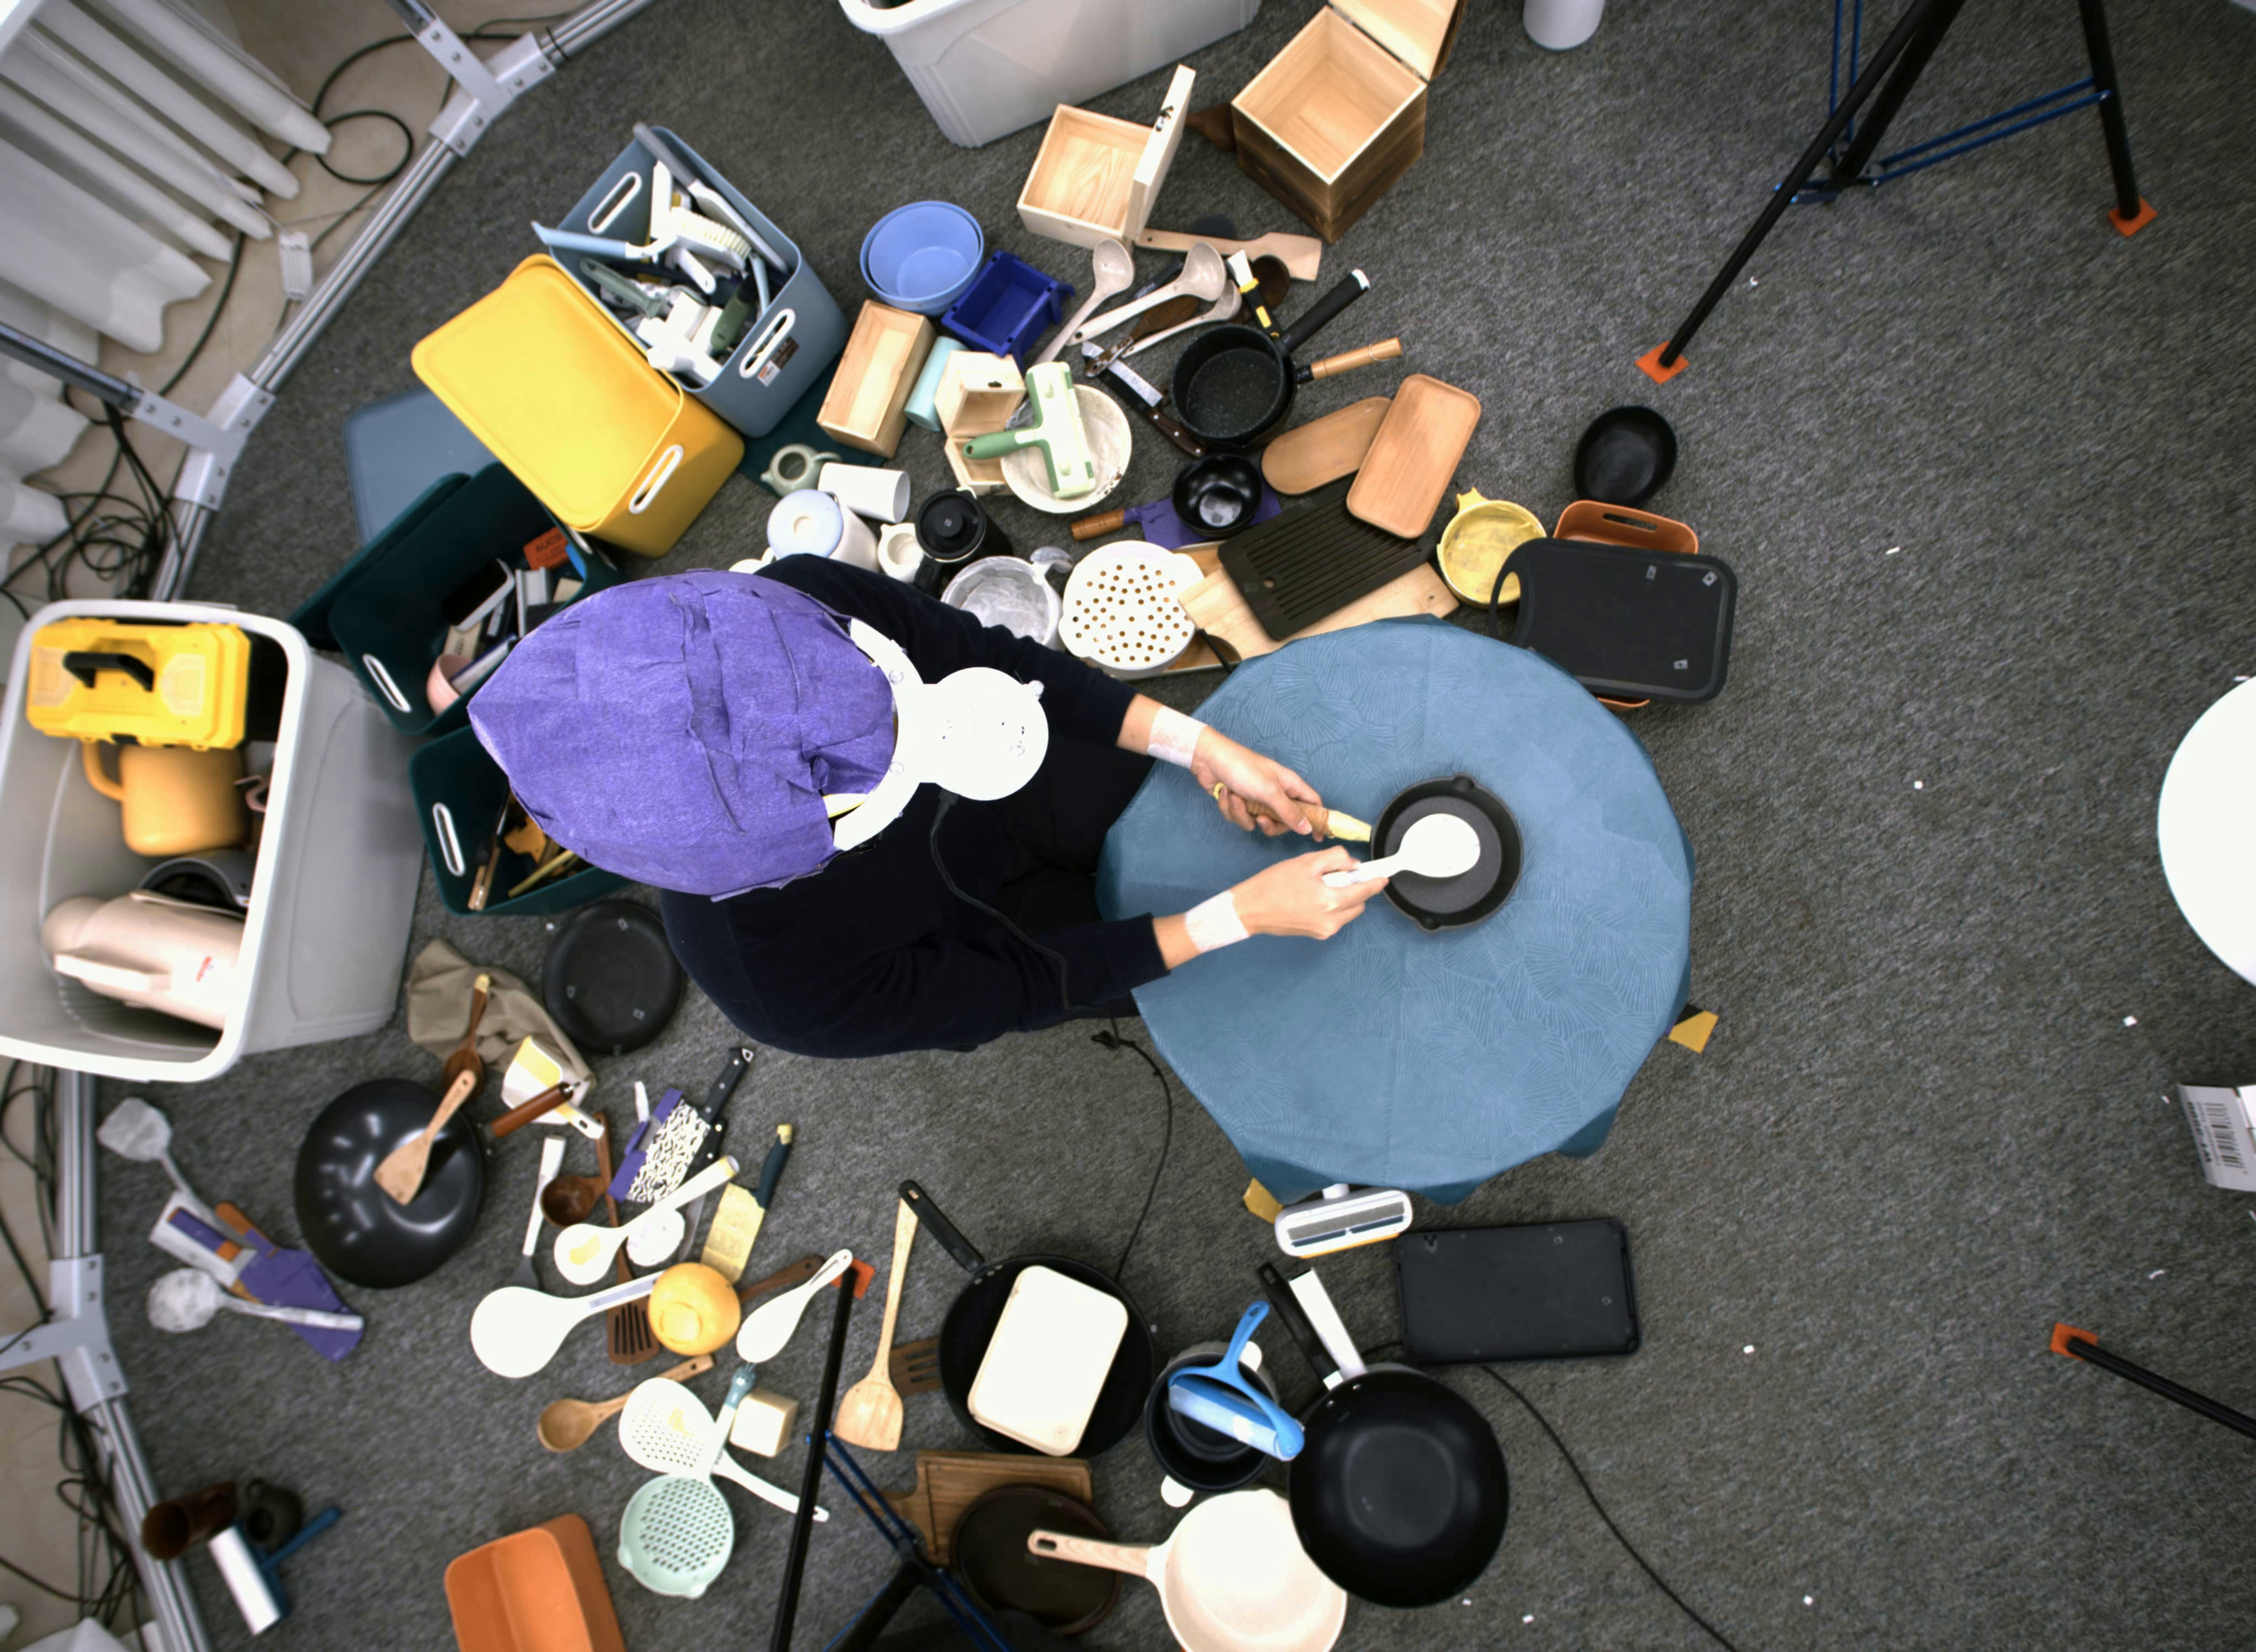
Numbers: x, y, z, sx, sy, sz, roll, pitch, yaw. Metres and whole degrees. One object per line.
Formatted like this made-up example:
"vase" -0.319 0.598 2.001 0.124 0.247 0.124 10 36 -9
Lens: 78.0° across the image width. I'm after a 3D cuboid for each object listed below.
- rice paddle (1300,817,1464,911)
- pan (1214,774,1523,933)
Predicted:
"rice paddle" 0.262 0.037 1.395 0.203 0.030 0.068 -19 71 -26
"pan" 0.246 0.003 1.428 0.324 0.049 0.168 16 89 4
